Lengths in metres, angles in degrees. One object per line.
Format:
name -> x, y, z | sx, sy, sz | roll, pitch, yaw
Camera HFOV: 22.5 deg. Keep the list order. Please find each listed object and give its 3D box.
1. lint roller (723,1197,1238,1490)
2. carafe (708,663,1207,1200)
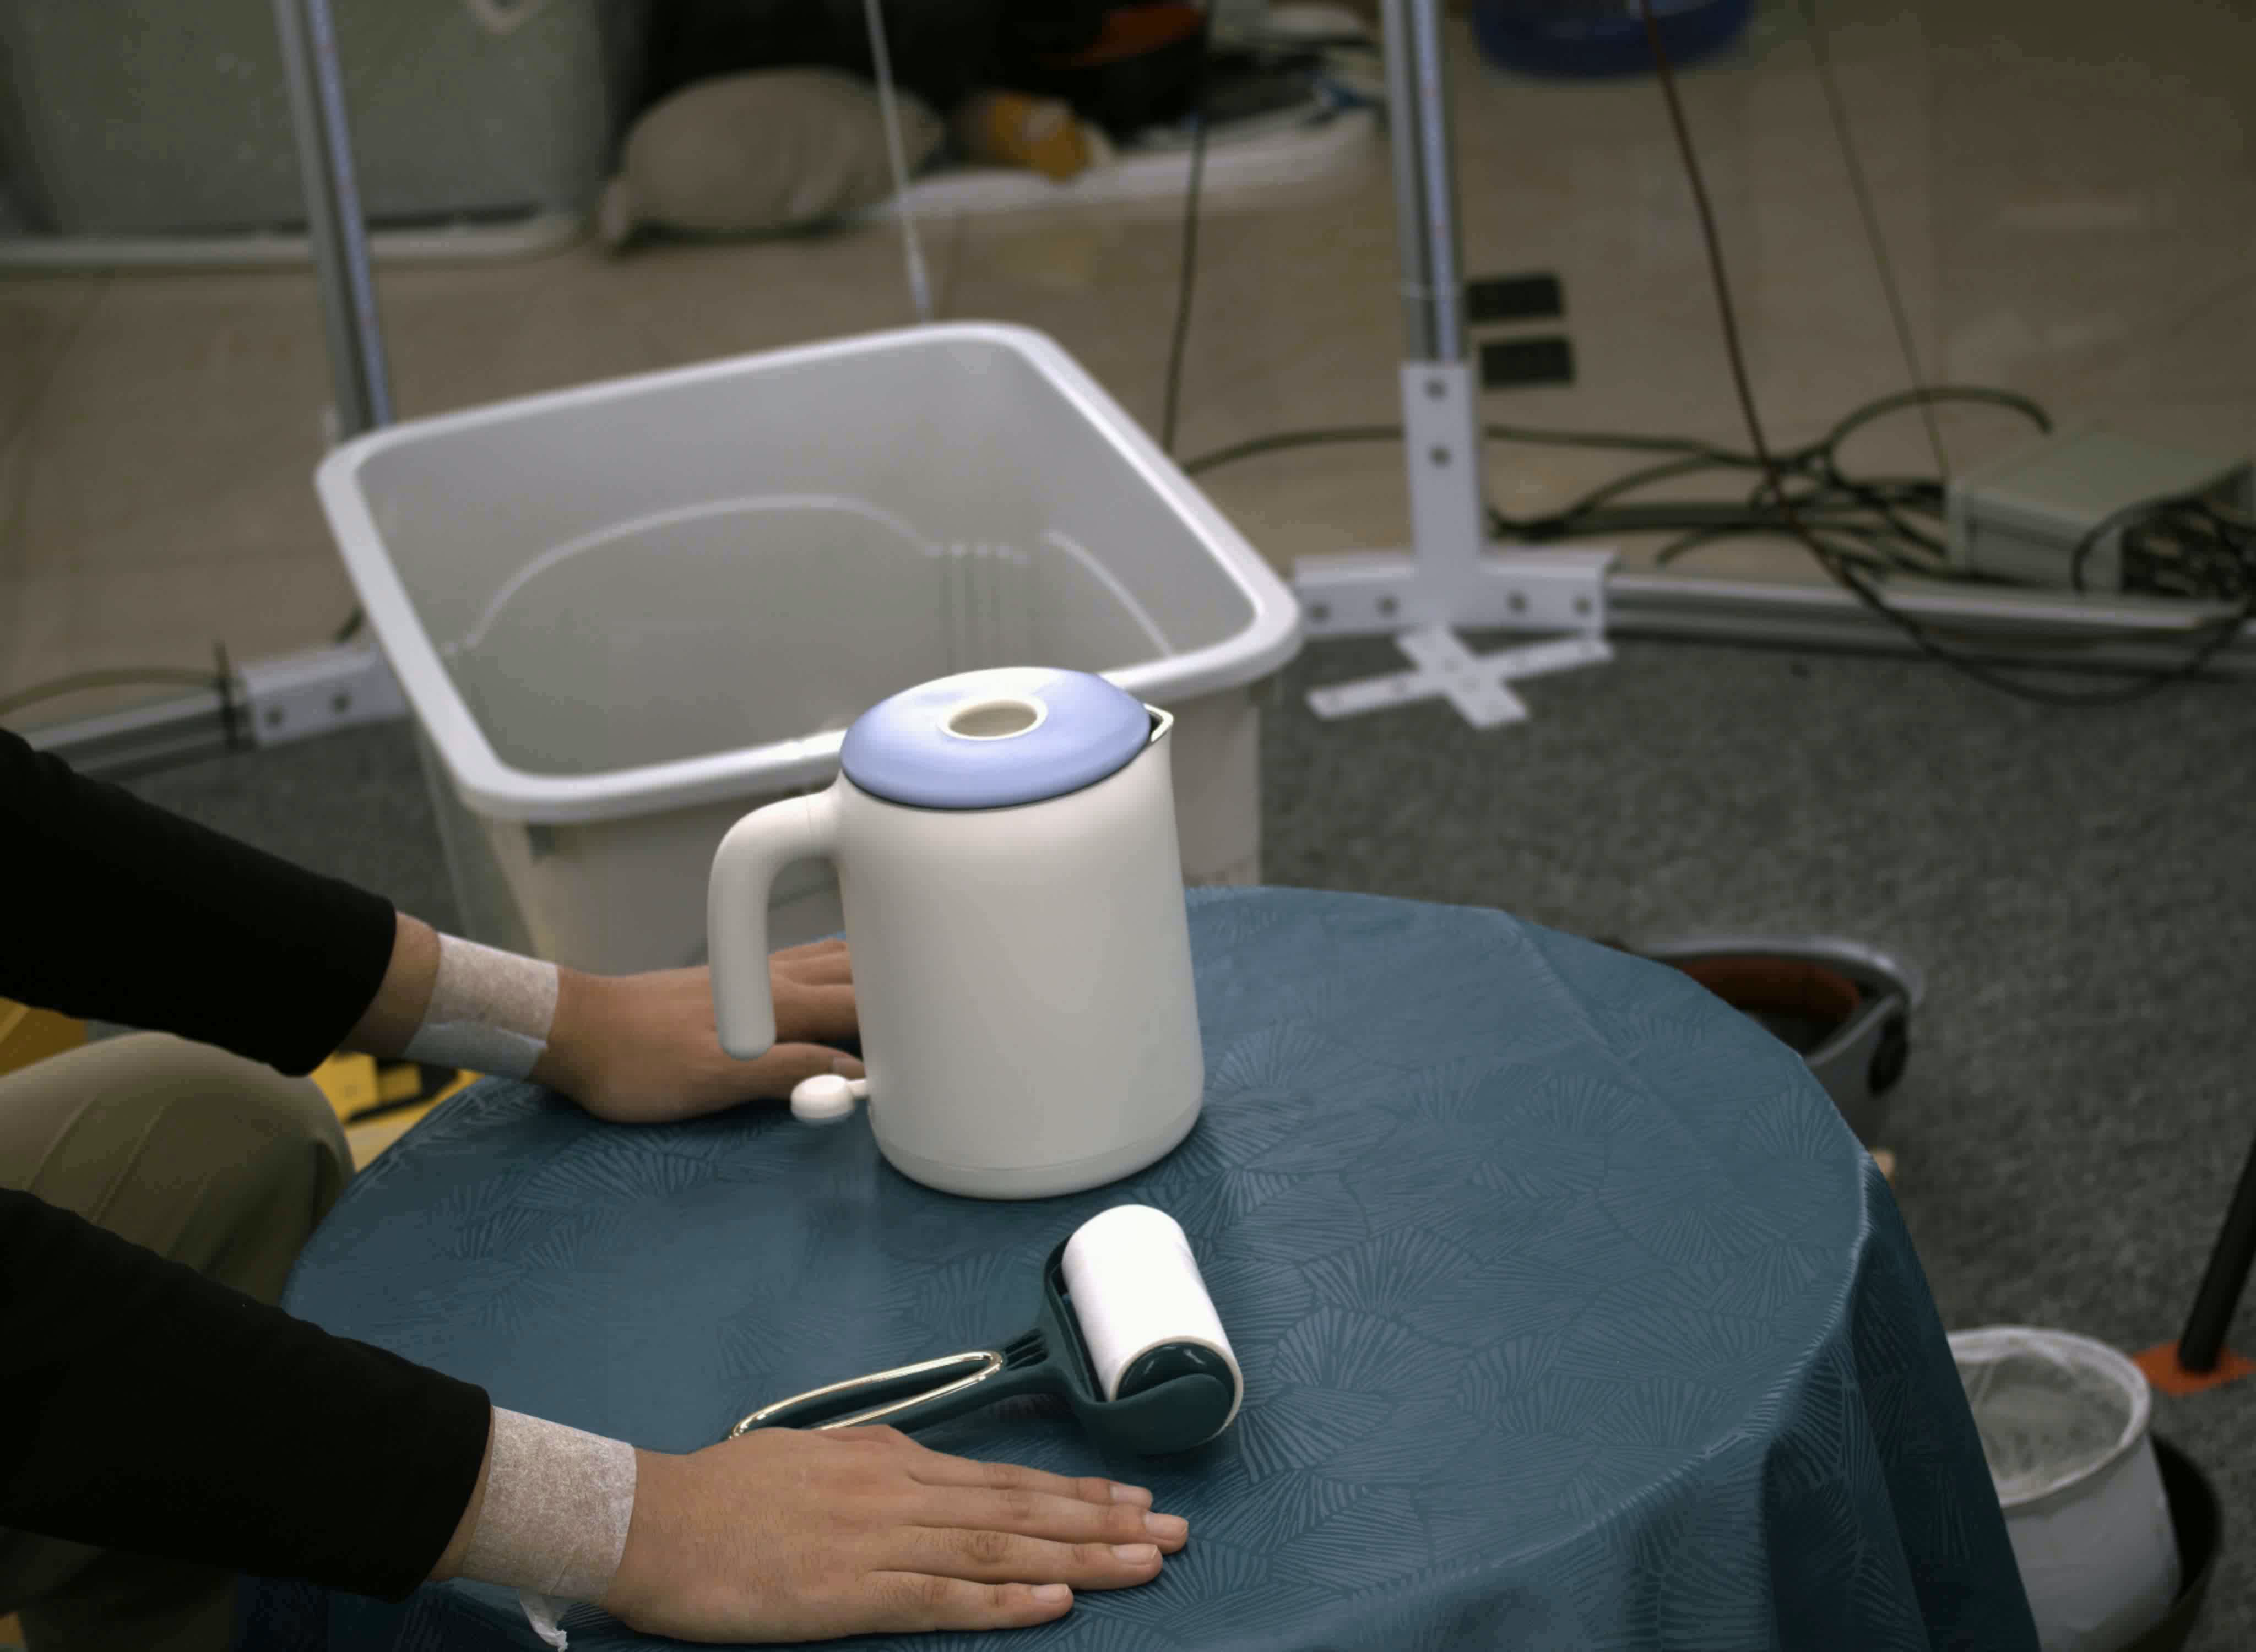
lint roller -> -0.058, 0.191, 2.000 | 0.180, 0.049, 0.132 | -12, 25, -6
carafe -> -0.066, 0.044, 2.161 | 0.190, 0.185, 0.130 | -11, 25, -5
